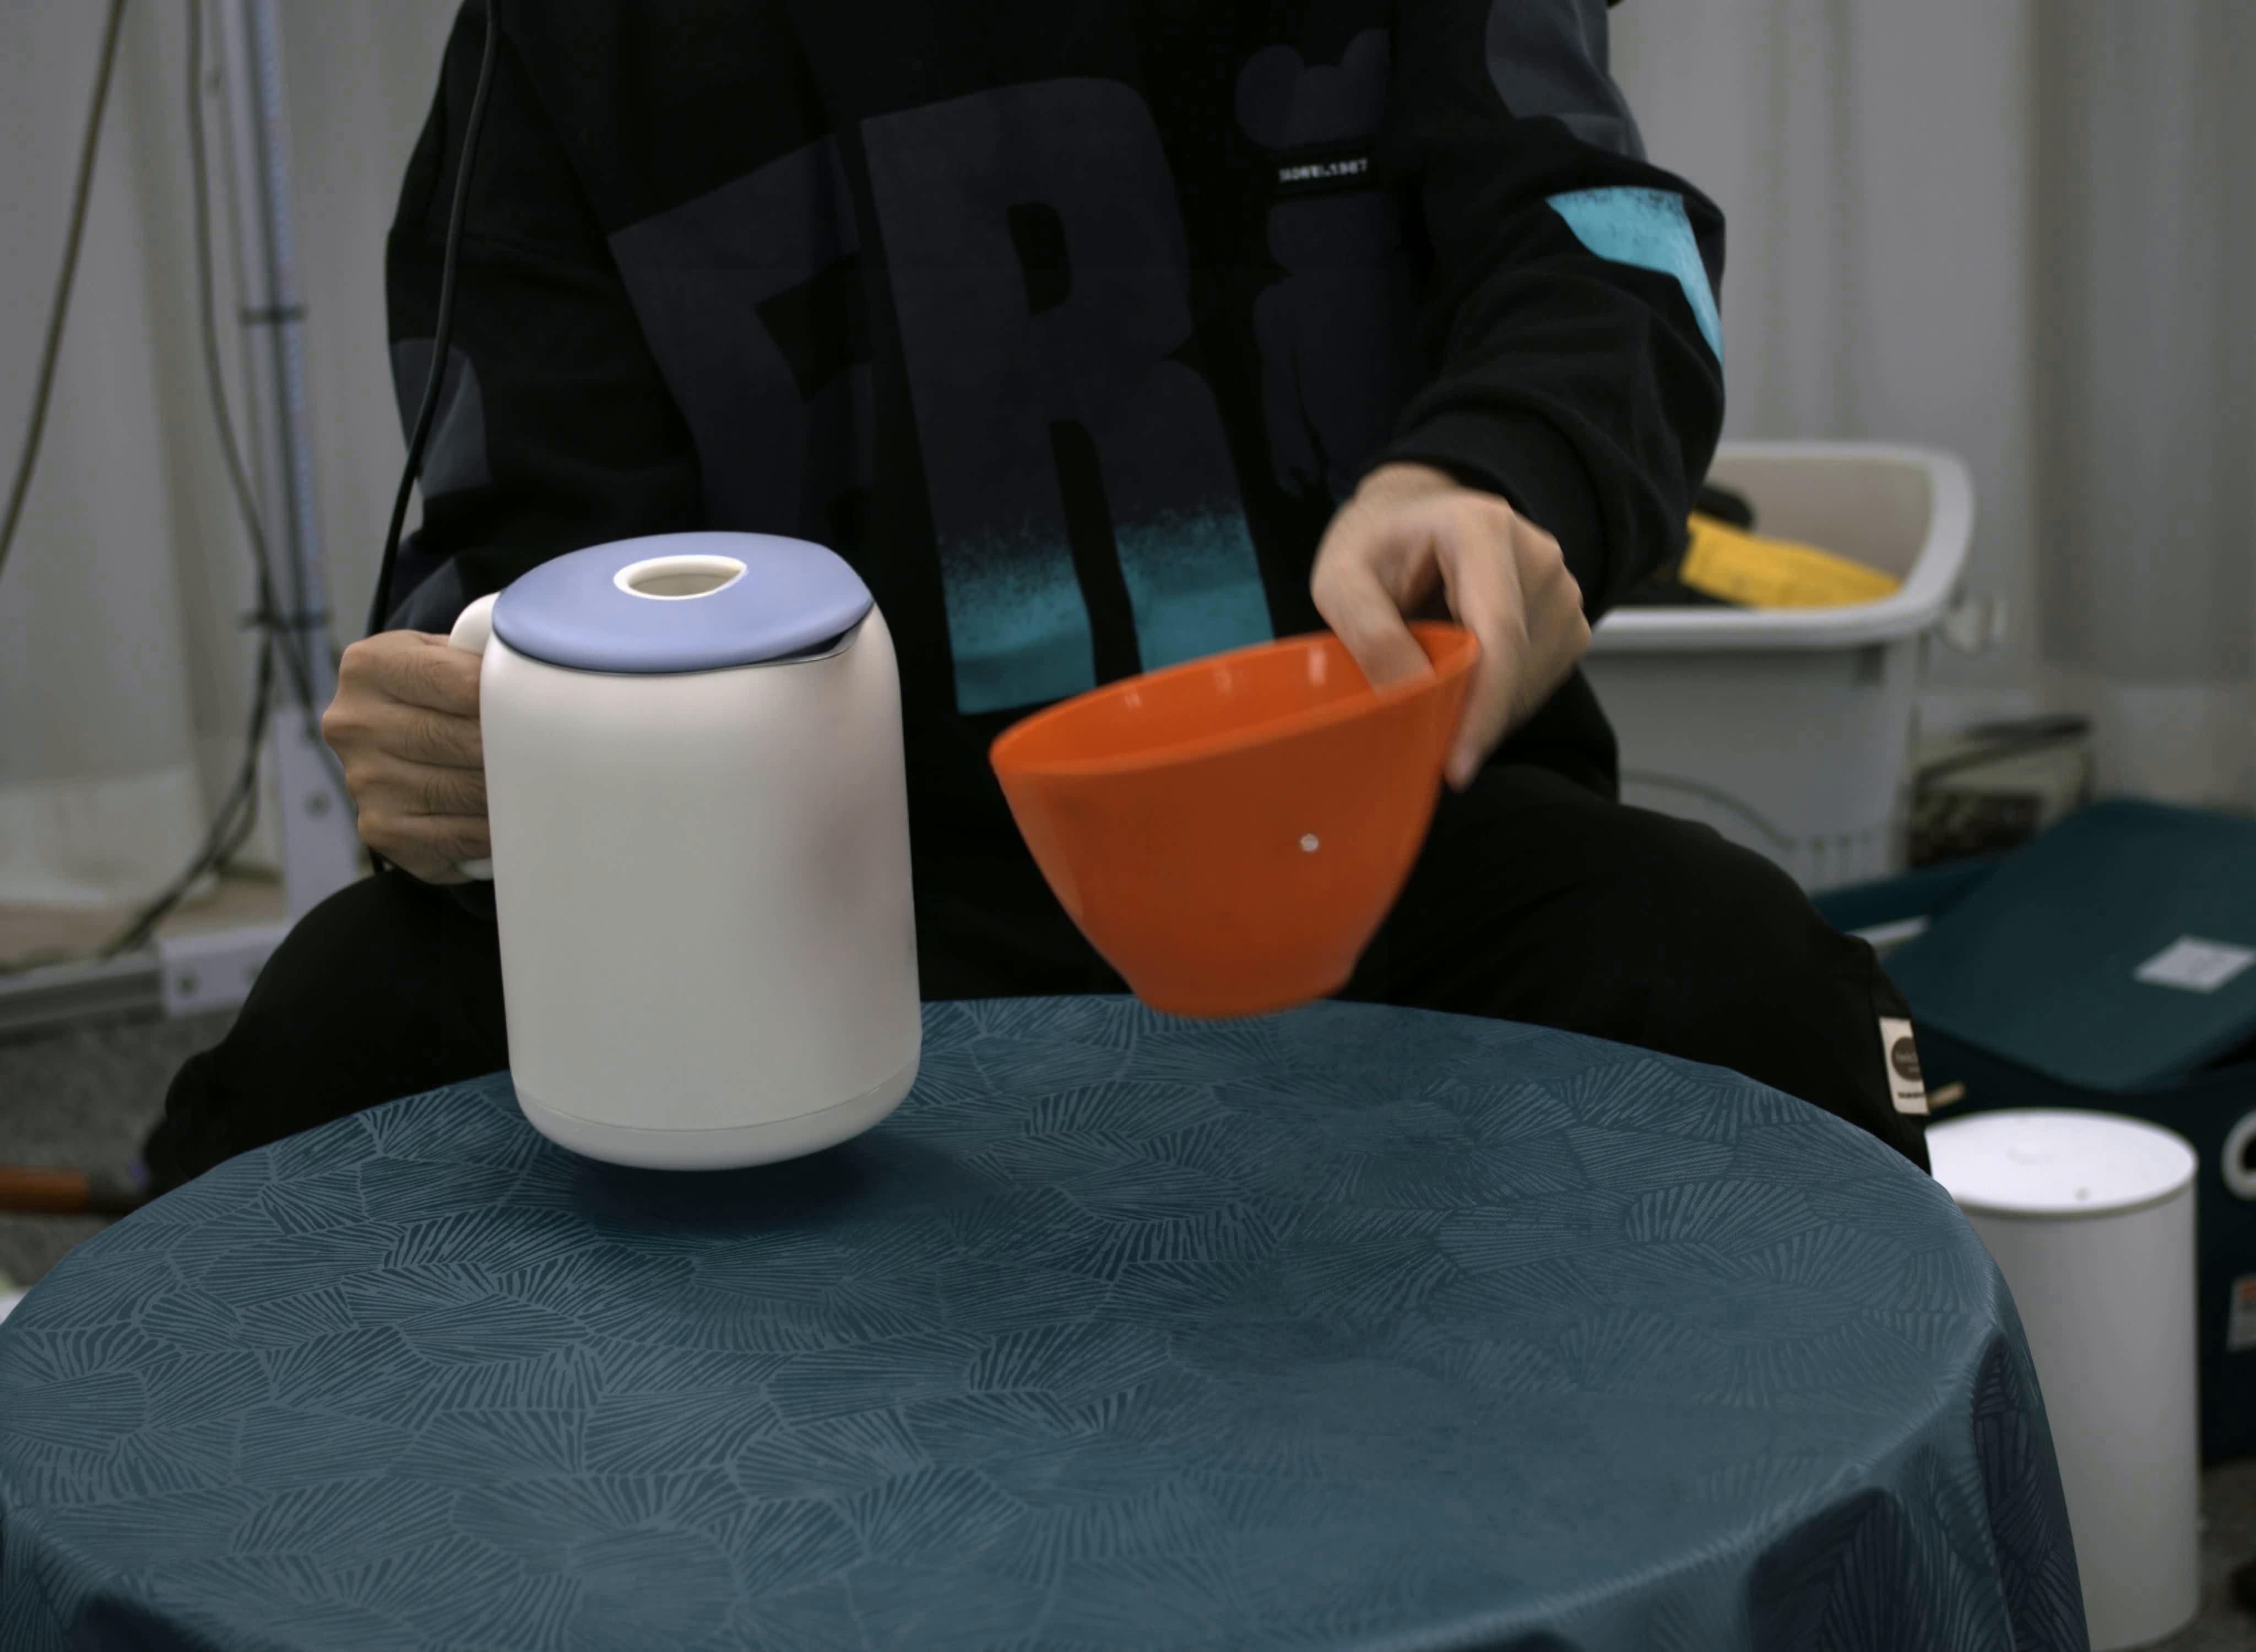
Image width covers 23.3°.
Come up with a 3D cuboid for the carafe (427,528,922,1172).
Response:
[{"bbox_3d":[-0.152,0.002,1.729,0.192,0.181,0.132,12,23,40],"label":"carafe"}]

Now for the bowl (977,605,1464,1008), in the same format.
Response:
[{"bbox_3d":[0.032,-0.004,1.621,0.147,0.104,0.149,-8,19,3],"label":"bowl"}]
